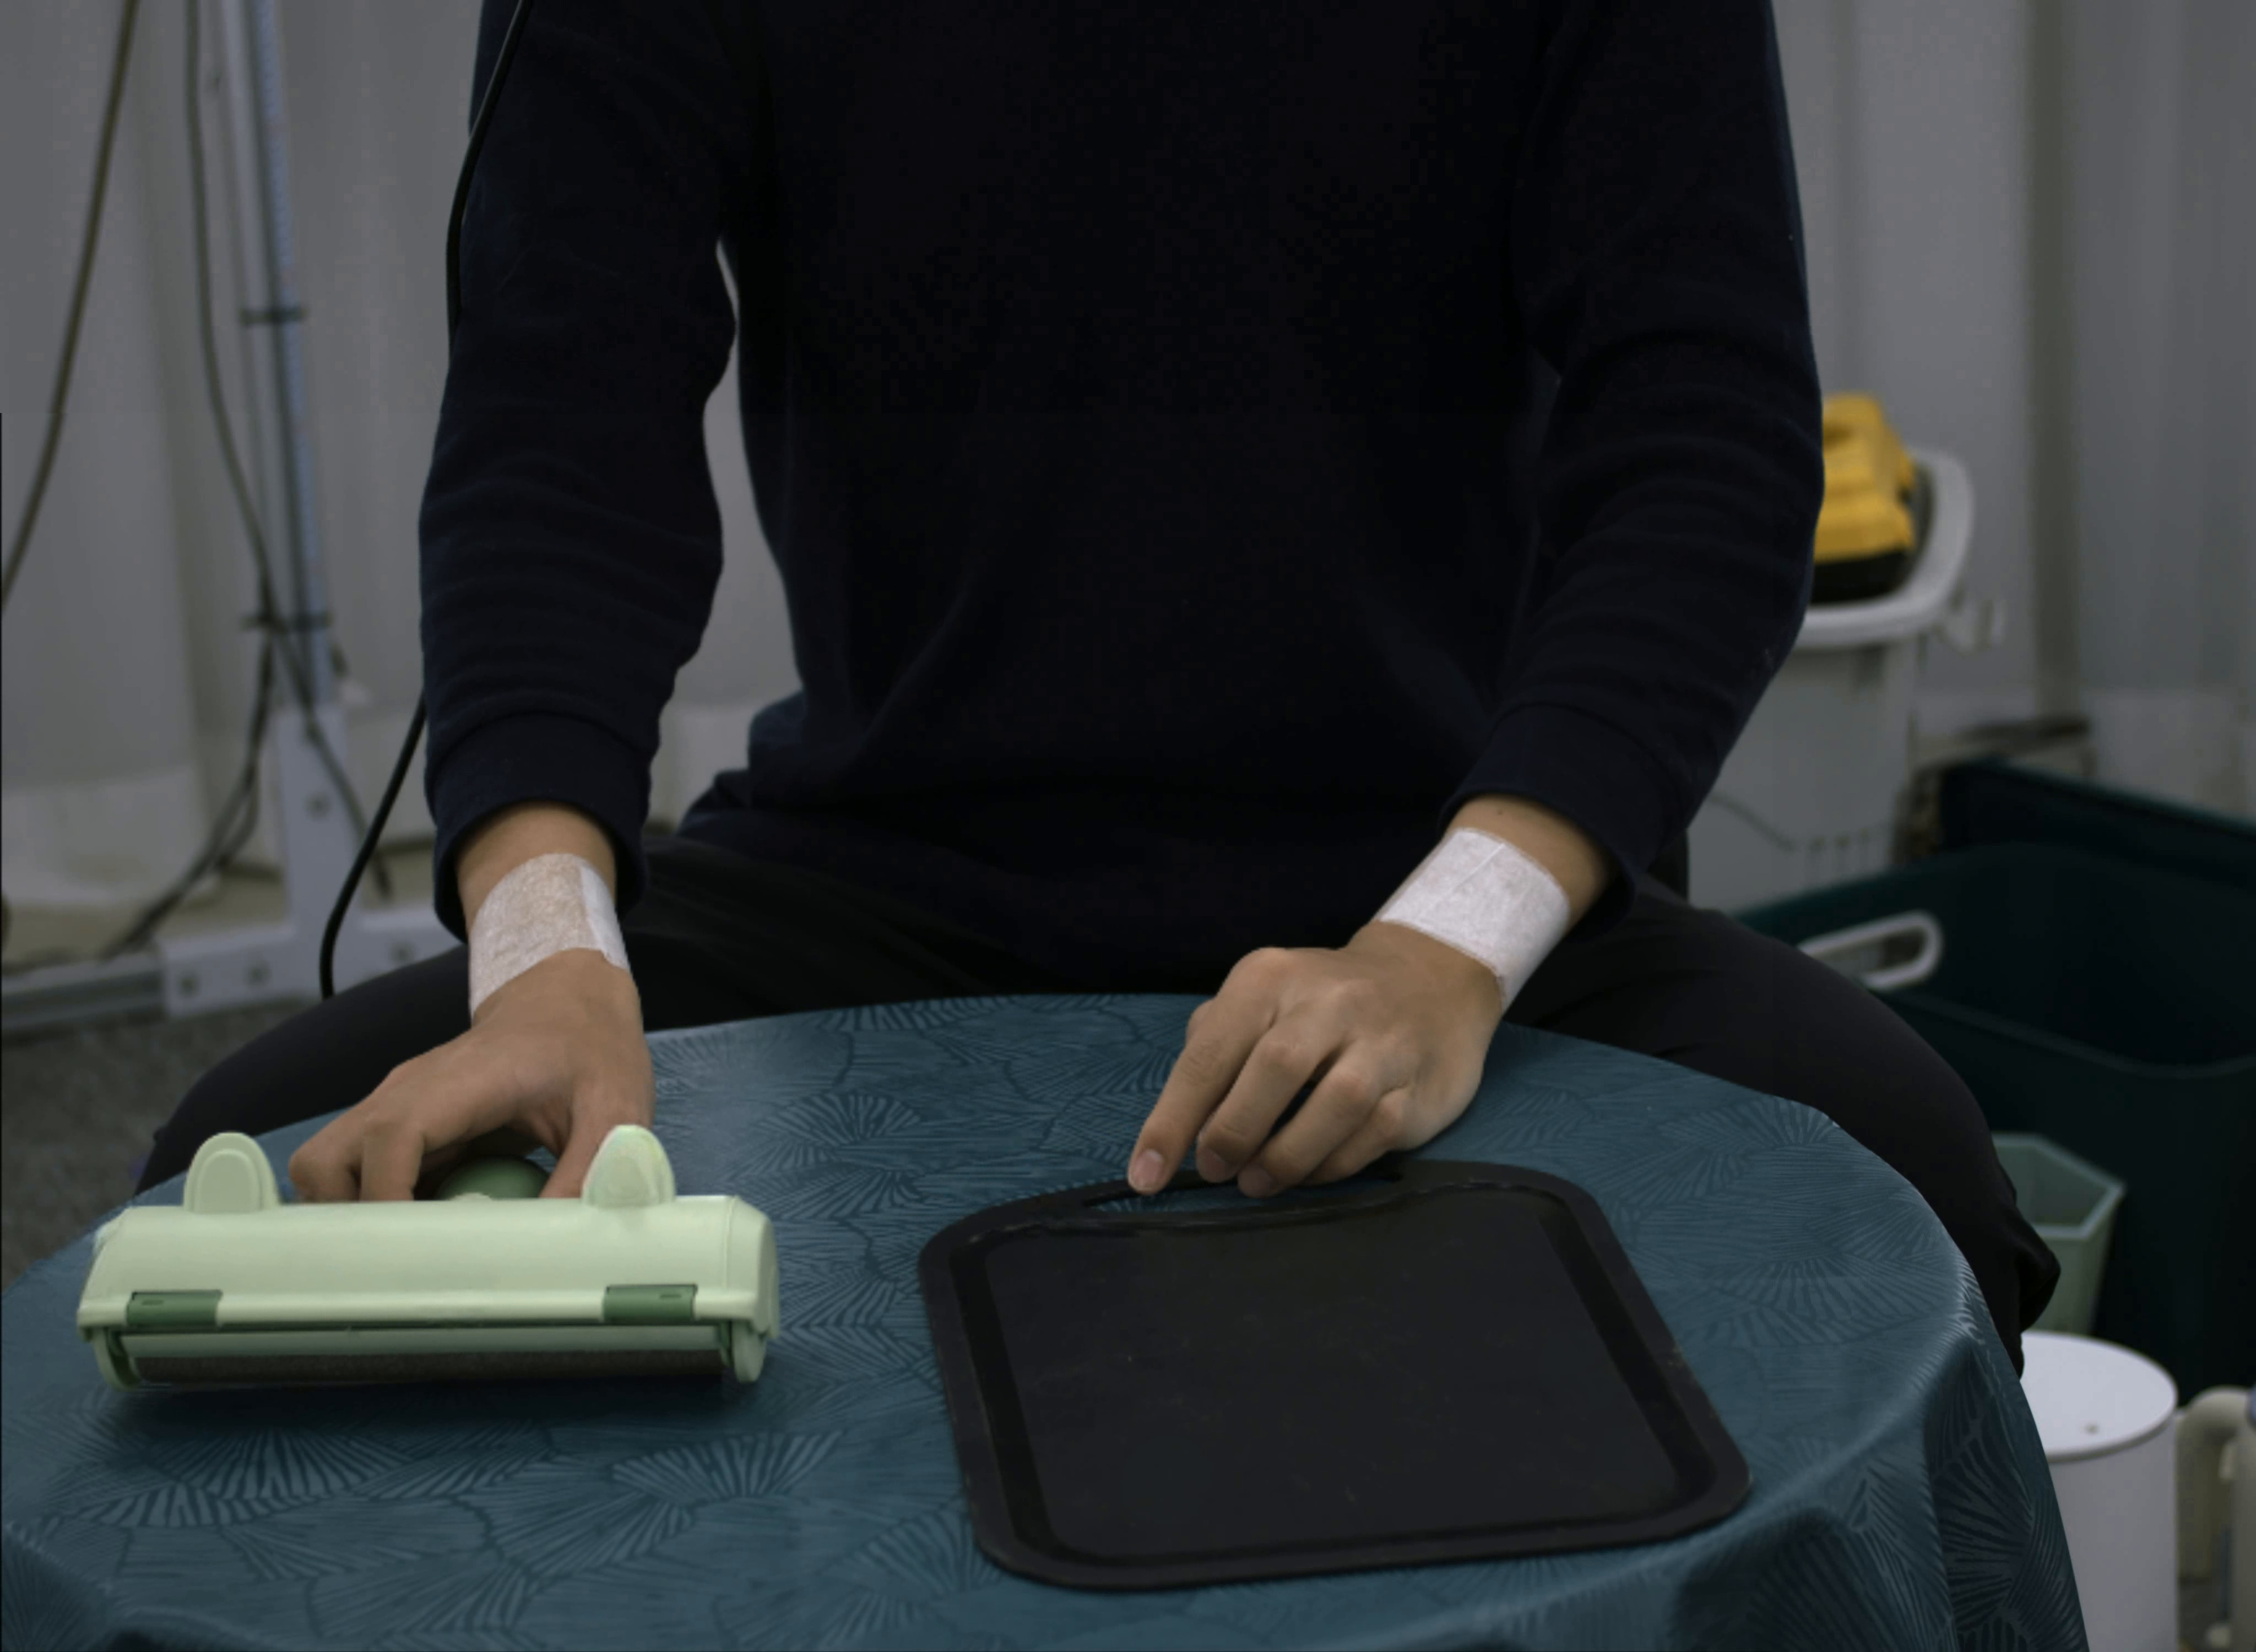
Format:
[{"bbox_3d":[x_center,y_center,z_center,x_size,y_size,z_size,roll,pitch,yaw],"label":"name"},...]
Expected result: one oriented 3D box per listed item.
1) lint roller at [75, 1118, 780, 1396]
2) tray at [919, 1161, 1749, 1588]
[{"bbox_3d":[-0.197,0.107,1.619,0.198,0.081,0.185,-1,21,3],"label":"lint roller"},{"bbox_3d":[0.050,0.149,1.566,0.210,0.010,0.328,-4,15,-5],"label":"tray"}]
